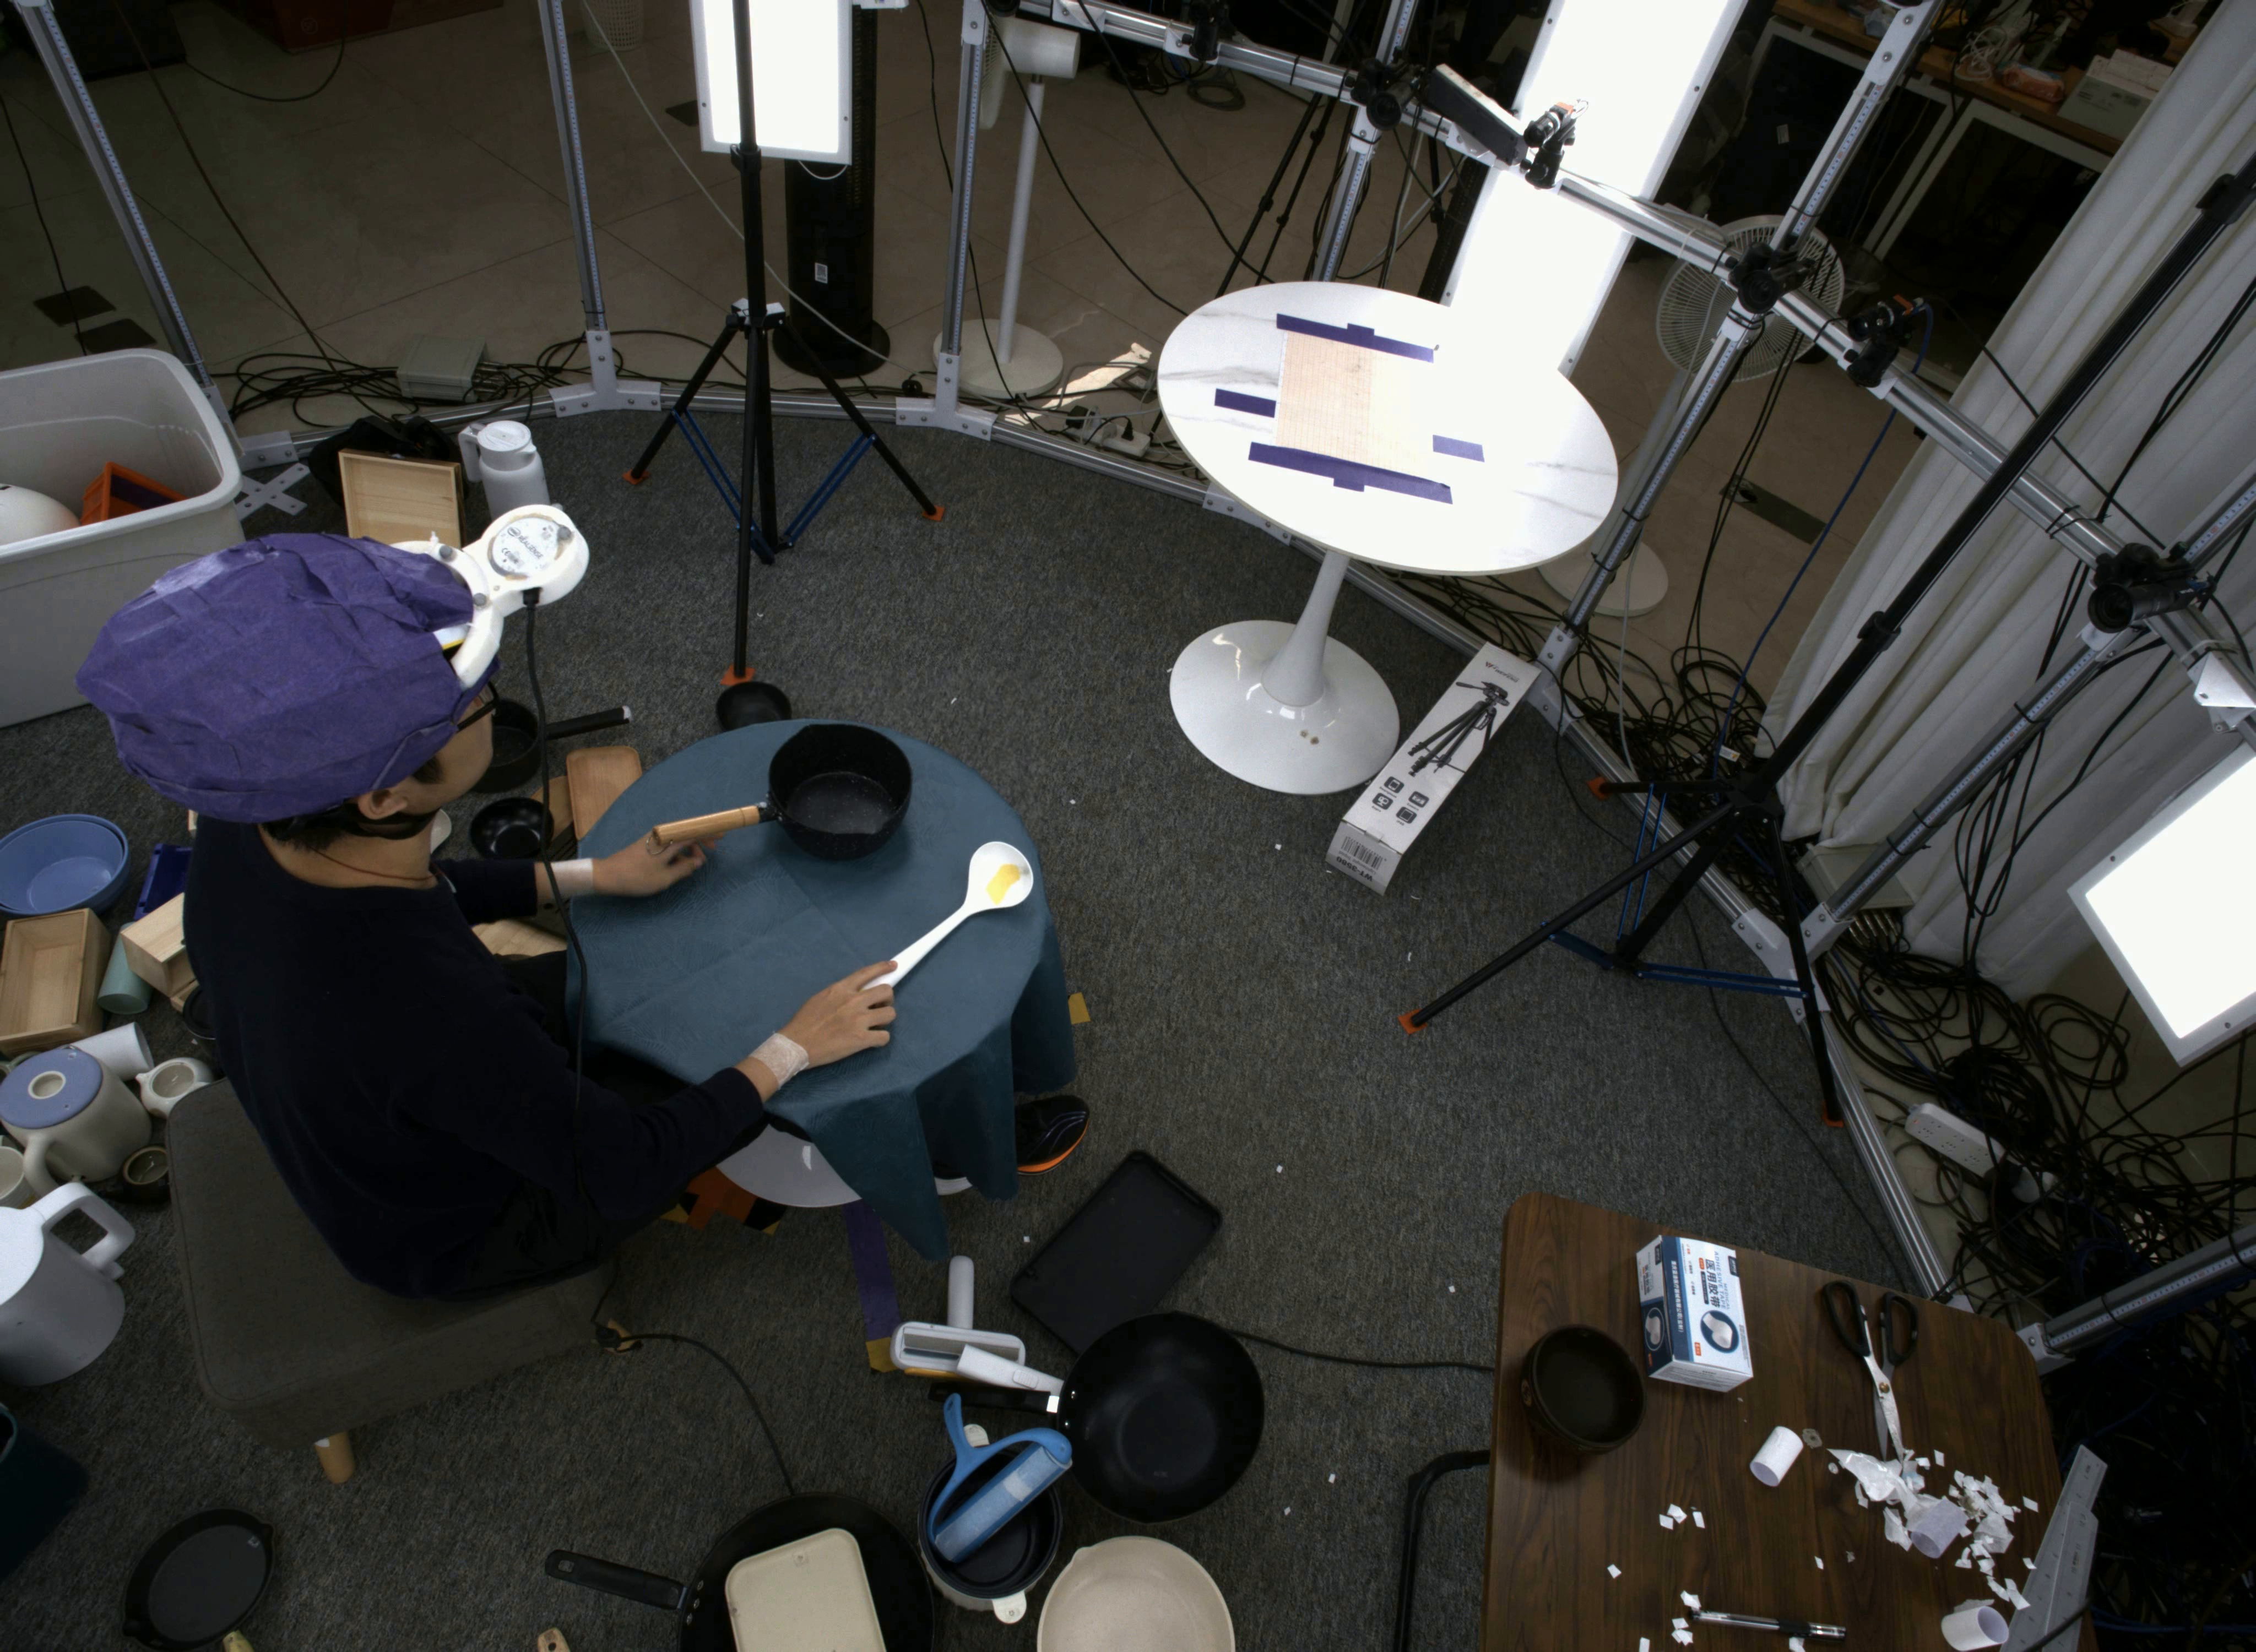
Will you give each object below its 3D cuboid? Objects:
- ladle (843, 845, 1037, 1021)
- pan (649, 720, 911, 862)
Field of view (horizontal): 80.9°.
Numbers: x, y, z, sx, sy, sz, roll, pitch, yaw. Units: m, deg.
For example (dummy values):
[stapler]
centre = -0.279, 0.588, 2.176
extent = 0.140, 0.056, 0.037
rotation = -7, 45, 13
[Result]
[ladle]
centre = -0.234, 0.133, 1.626
extent = 0.090, 0.070, 0.293
rotation = 48, 56, 2
[pan]
centre = -0.441, -0.019, 1.654
extent = 0.344, 0.110, 0.202
rotation = -24, 63, -30
